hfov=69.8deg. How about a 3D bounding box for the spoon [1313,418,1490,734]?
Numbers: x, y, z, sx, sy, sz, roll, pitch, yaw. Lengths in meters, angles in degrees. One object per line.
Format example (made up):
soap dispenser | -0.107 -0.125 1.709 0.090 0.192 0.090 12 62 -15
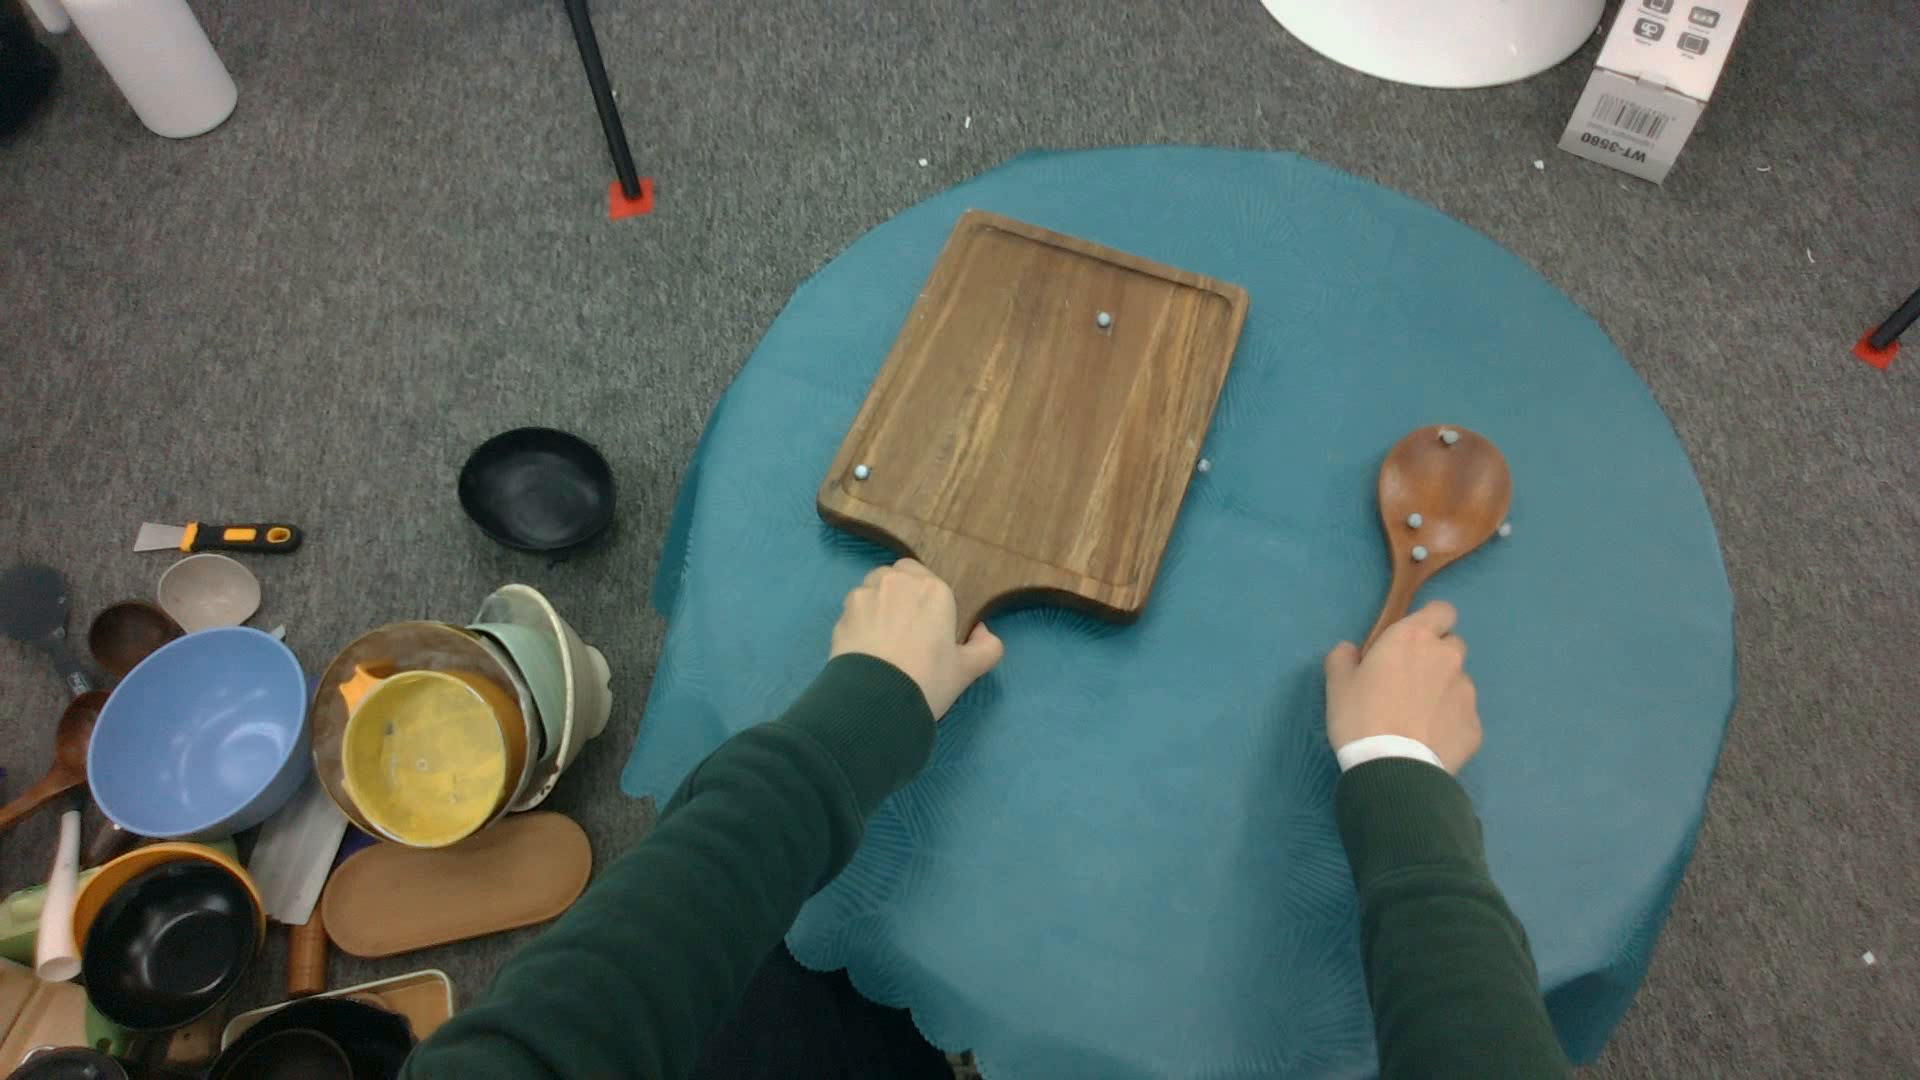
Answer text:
spoon | 0.244 0.017 0.780 0.075 0.017 0.217 25 62 10

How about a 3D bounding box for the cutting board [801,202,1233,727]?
cutting board | 0.025 -0.049 0.802 0.201 0.023 0.354 19 60 7
